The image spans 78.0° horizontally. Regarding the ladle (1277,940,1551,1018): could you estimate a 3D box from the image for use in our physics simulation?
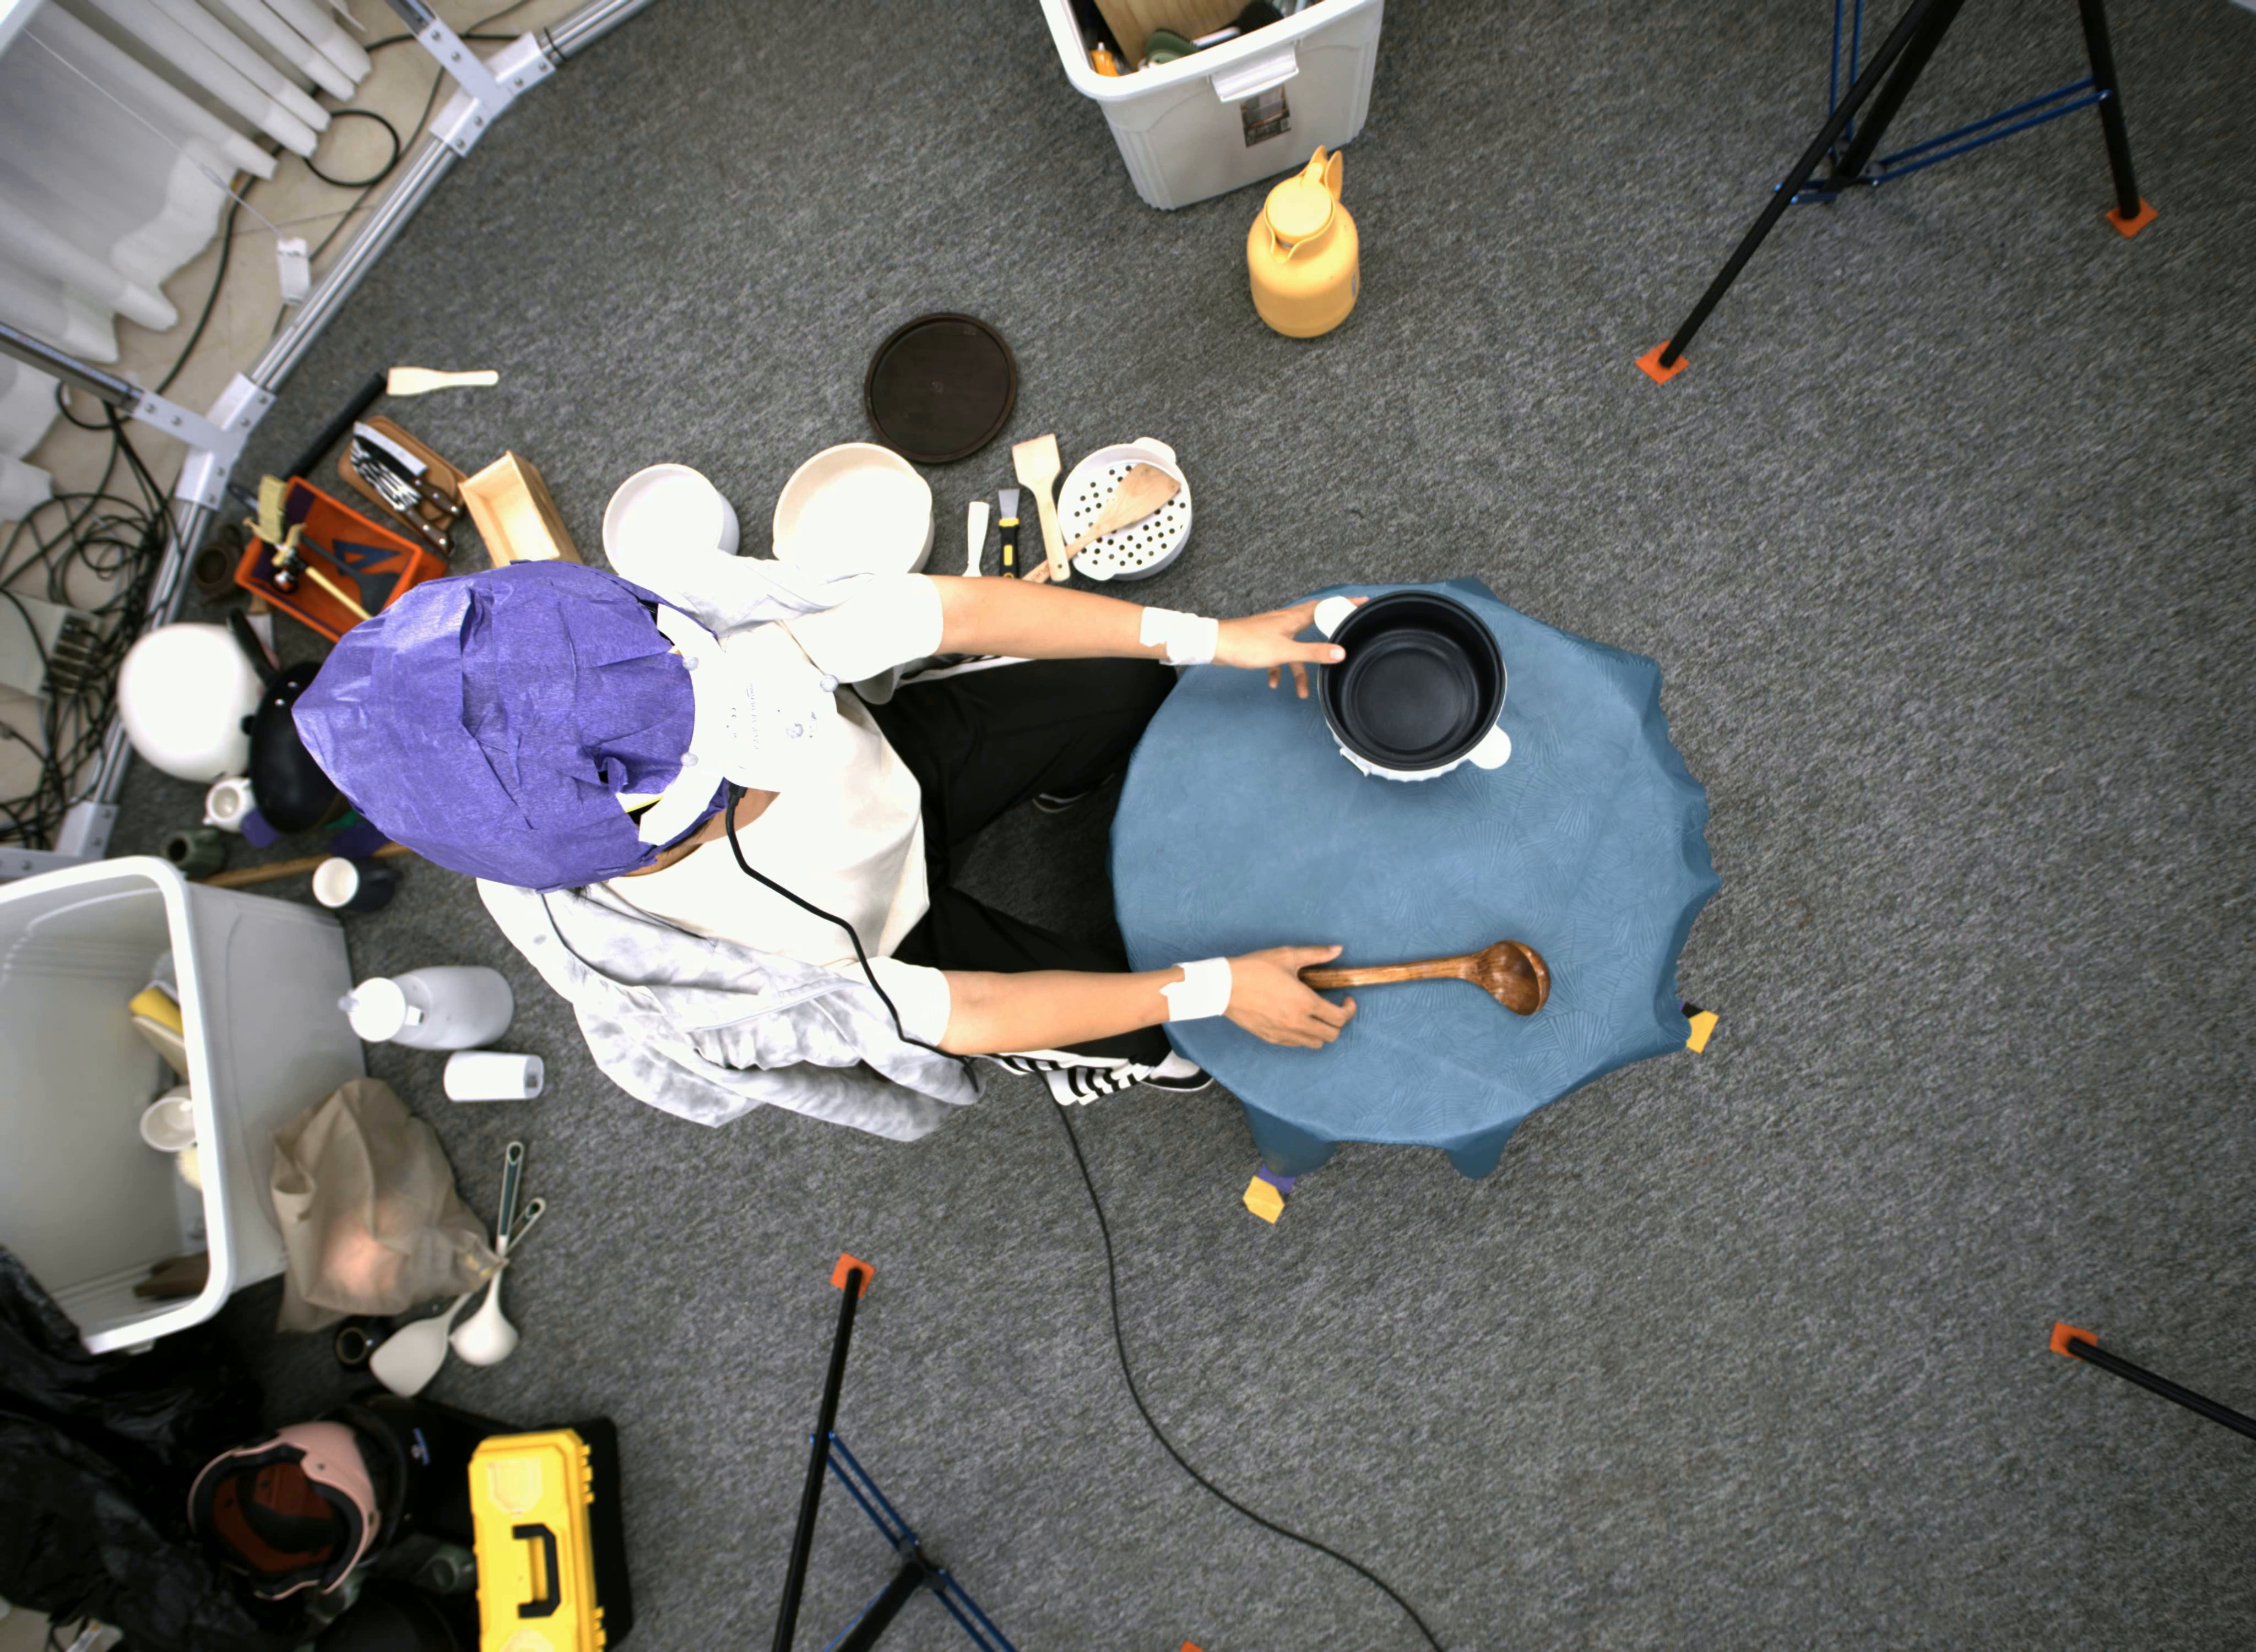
[{"bbox_3d":[0.290,0.158,1.412,0.275,0.075,0.083,-4,109,9],"label":"ladle"}]

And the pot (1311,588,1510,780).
[{"bbox_3d":[0.288,-0.143,1.395,0.239,0.142,0.192,42,98,9],"label":"pot"}]
